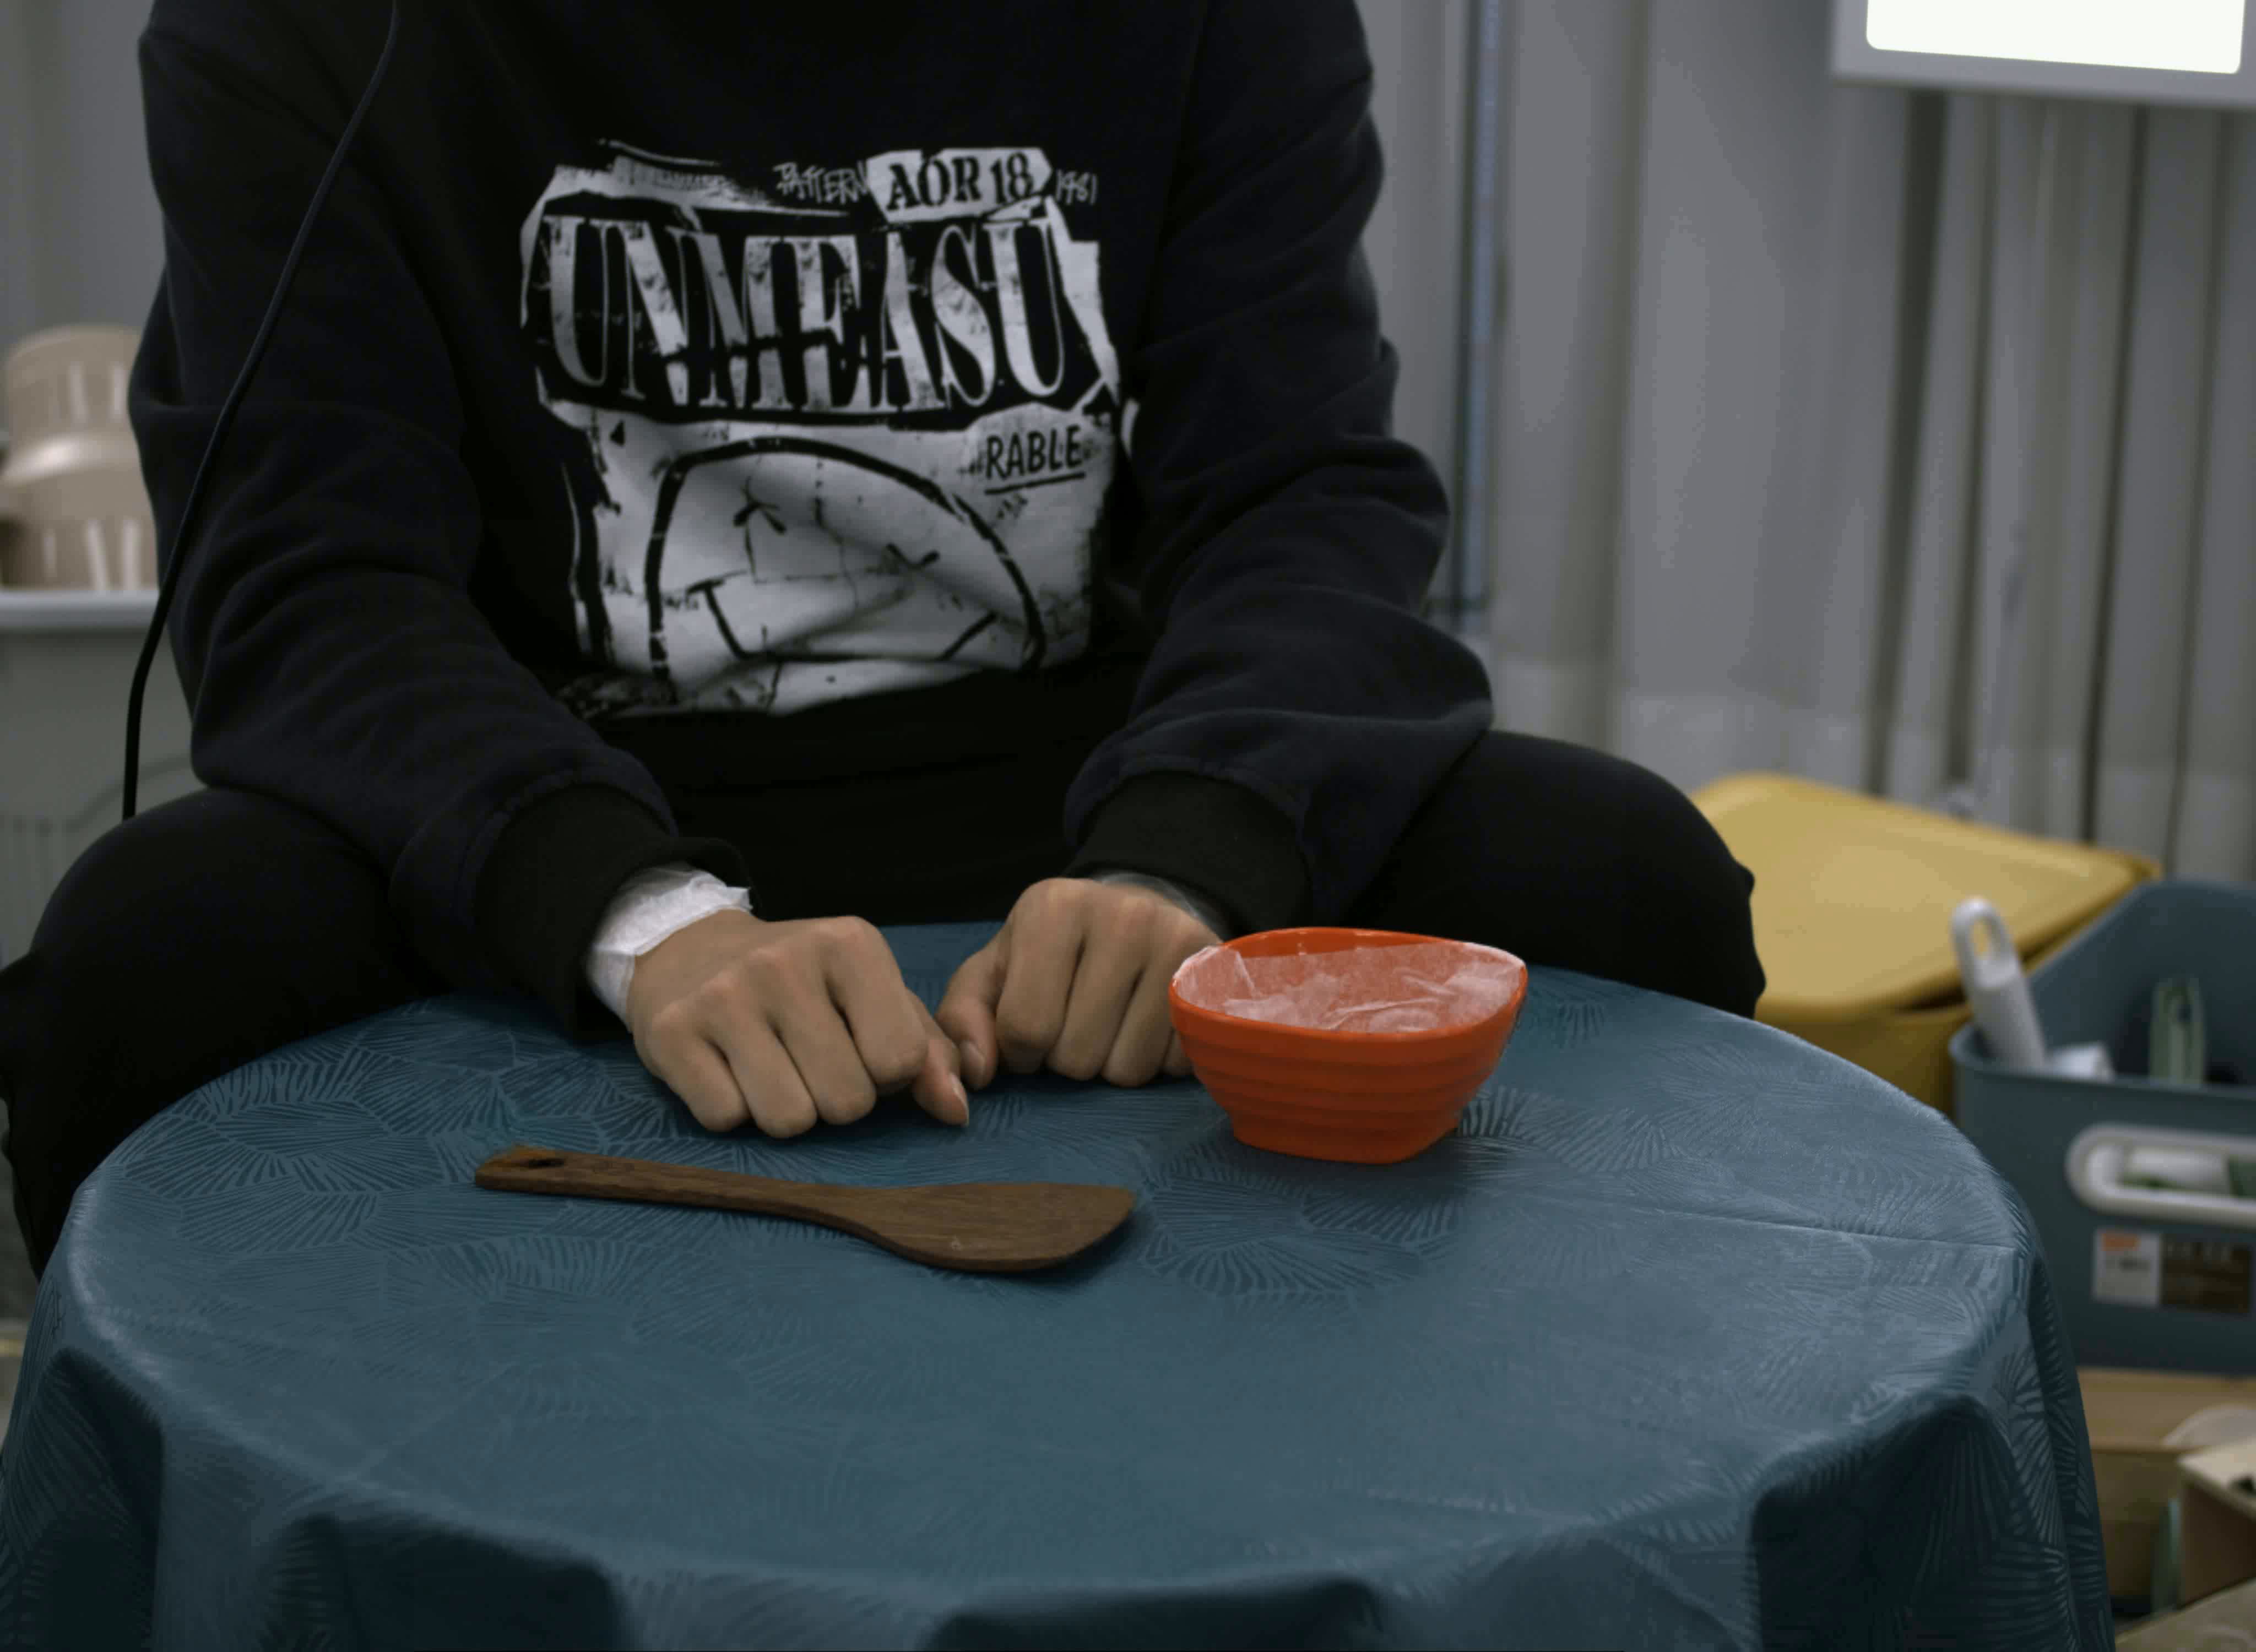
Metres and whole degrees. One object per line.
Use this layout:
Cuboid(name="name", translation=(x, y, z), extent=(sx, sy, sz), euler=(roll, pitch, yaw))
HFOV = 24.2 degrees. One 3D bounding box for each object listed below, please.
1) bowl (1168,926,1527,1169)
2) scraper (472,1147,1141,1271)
Cuboid(name="bowl", translation=(0.070, 0.073, 1.680), extent=(0.118, 0.052, 0.118), euler=(0, 18, 0))
Cuboid(name="scraper", translation=(-0.101, 0.114, 1.604), extent=(0.209, 0.011, 0.076), euler=(5, 15, 18))
